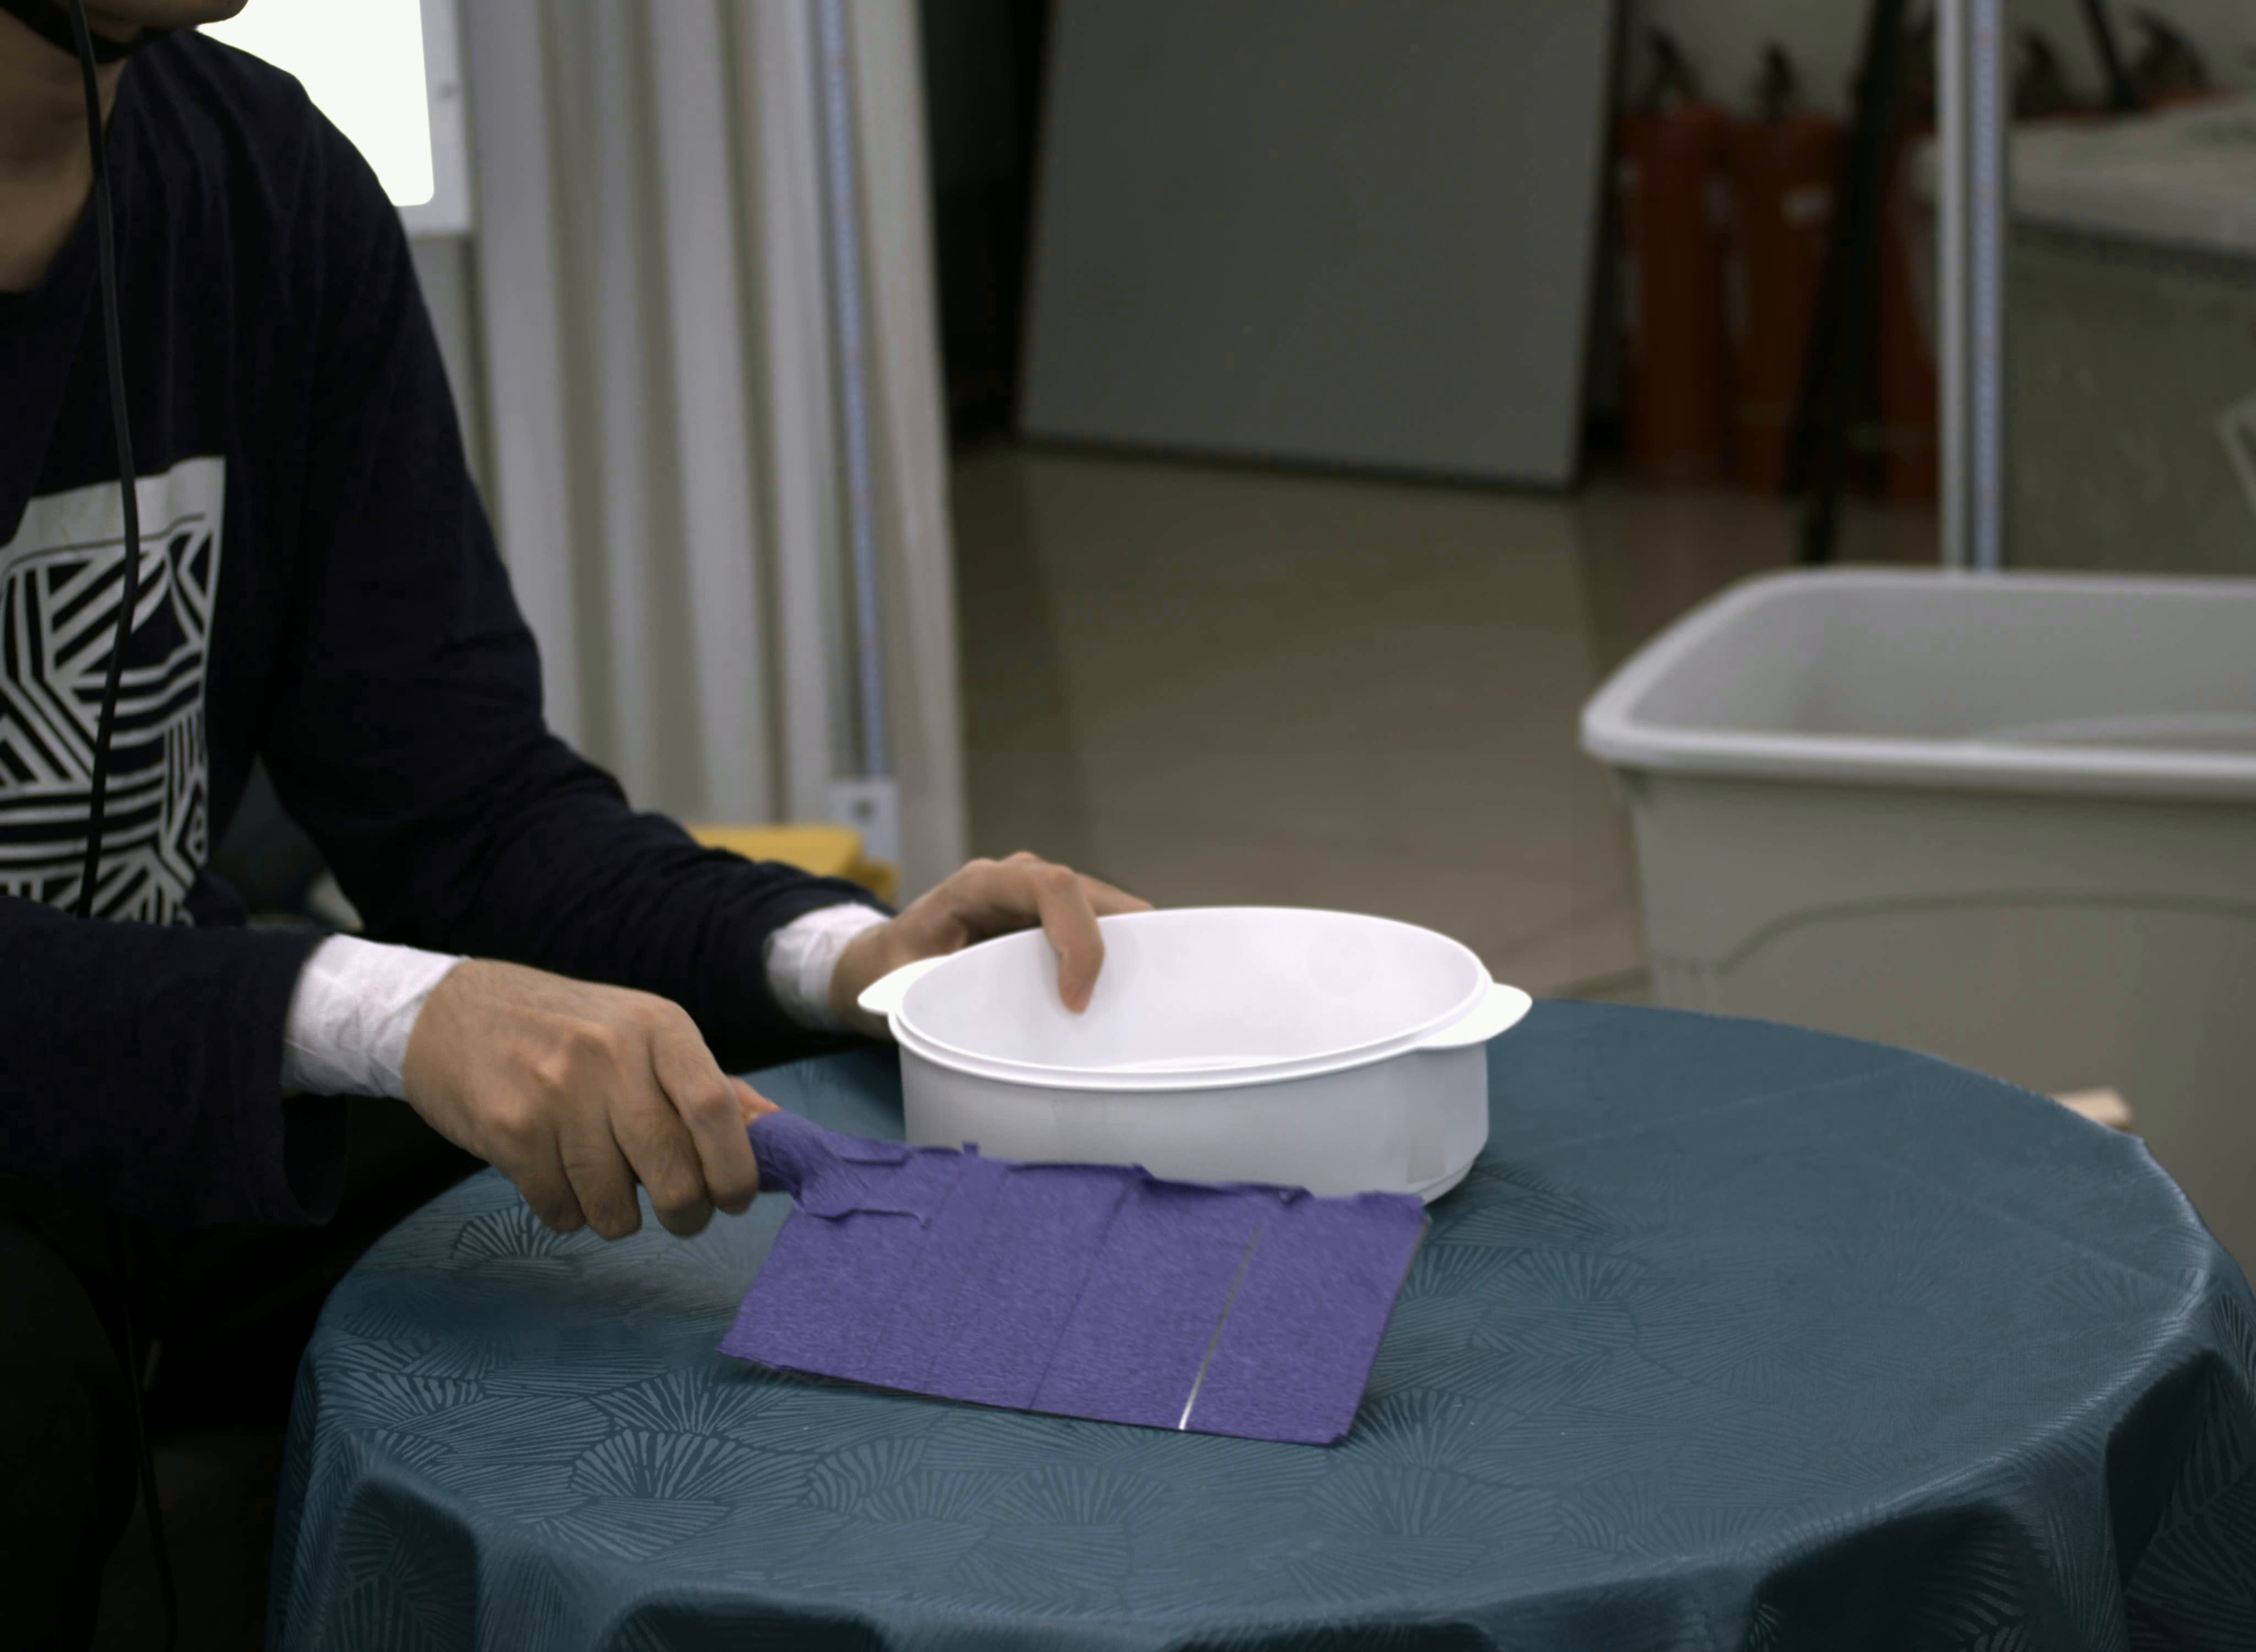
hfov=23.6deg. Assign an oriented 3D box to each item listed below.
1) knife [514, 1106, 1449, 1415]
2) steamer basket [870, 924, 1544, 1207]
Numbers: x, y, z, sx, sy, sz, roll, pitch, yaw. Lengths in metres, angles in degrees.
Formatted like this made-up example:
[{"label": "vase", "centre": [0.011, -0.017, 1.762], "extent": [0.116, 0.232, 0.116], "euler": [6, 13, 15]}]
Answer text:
[{"label": "knife", "centre": [-0.060, 0.129, 1.622], "extent": [0.316, 0.032, 0.103], "euler": [2, 43, 28]}, {"label": "steamer basket", "centre": [0.027, 0.087, 1.773], "extent": [0.231, 0.070, 0.199], "euler": [-1, 12, 25]}]
